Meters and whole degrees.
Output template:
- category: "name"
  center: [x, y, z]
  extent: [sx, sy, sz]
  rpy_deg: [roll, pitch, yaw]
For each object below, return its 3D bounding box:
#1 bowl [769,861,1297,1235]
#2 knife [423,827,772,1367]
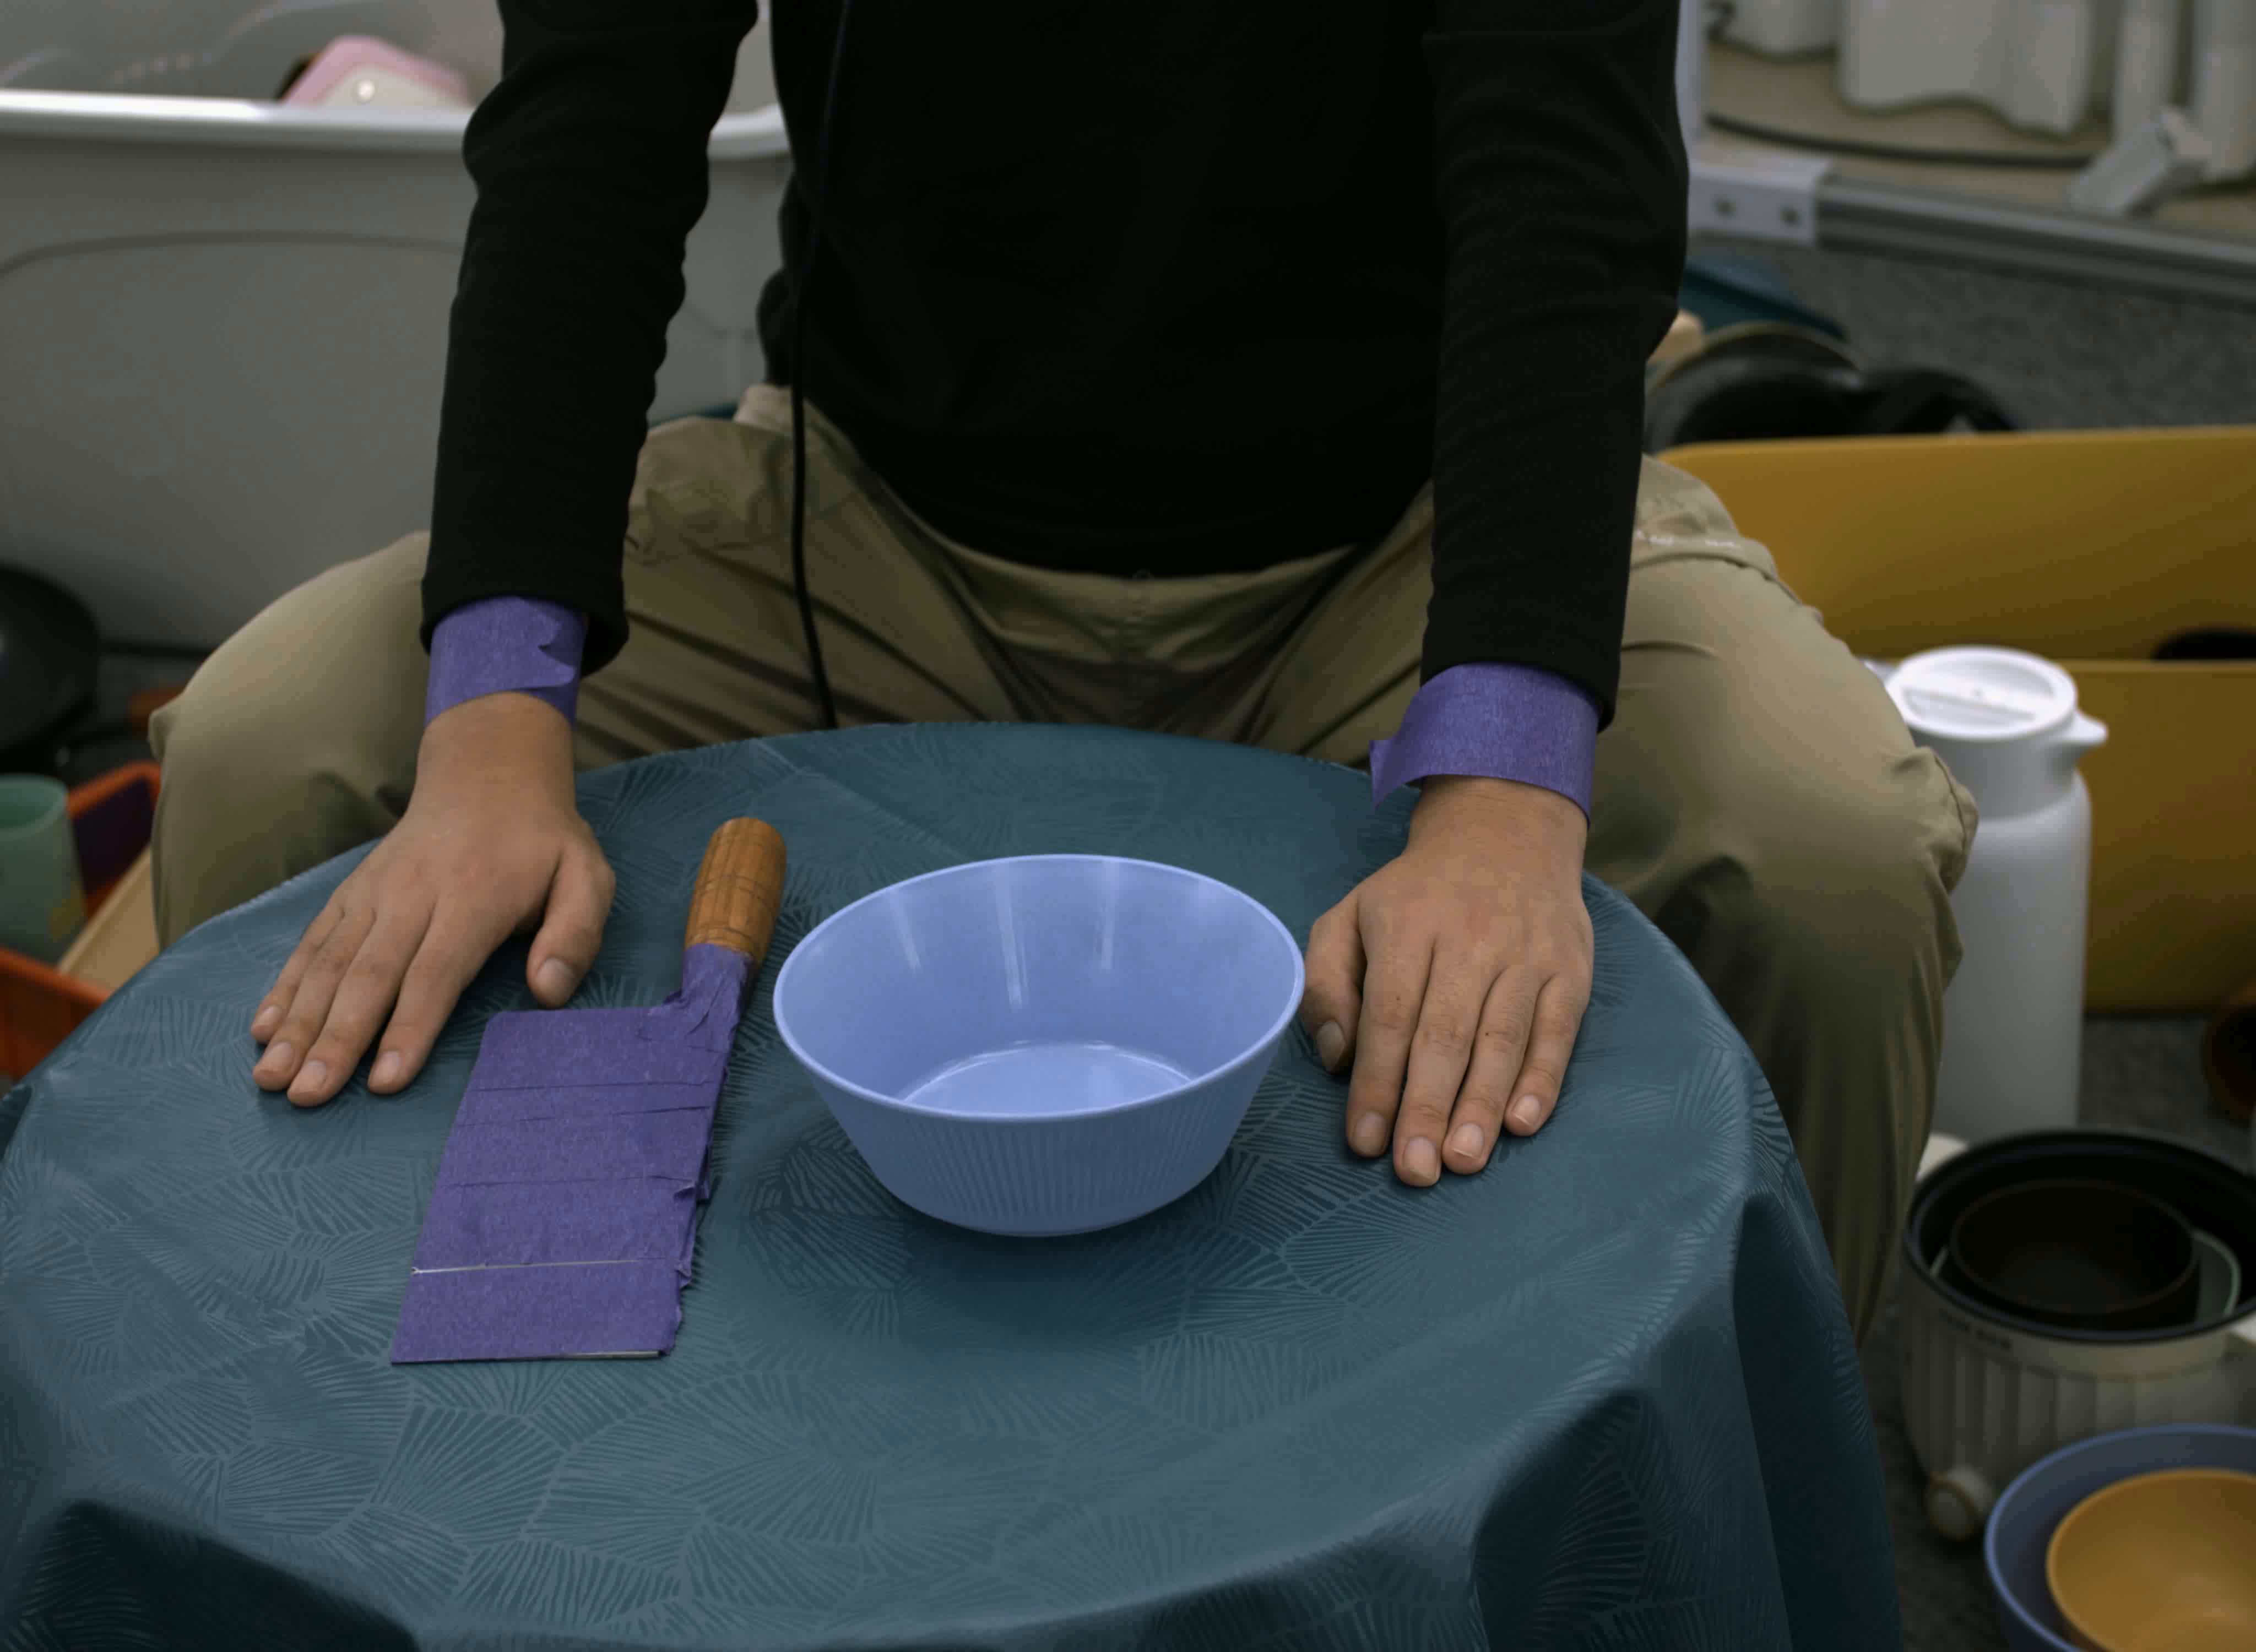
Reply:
- category: "bowl"
  center: [-0.030, 0.080, 1.866]
  extent: [0.175, 0.069, 0.178]
  rpy_deg: [-2, 26, 1]
- category: "knife"
  center: [-0.180, 0.088, 1.913]
  extent: [0.103, 0.032, 0.320]
  rpy_deg: [-1, 28, 3]
